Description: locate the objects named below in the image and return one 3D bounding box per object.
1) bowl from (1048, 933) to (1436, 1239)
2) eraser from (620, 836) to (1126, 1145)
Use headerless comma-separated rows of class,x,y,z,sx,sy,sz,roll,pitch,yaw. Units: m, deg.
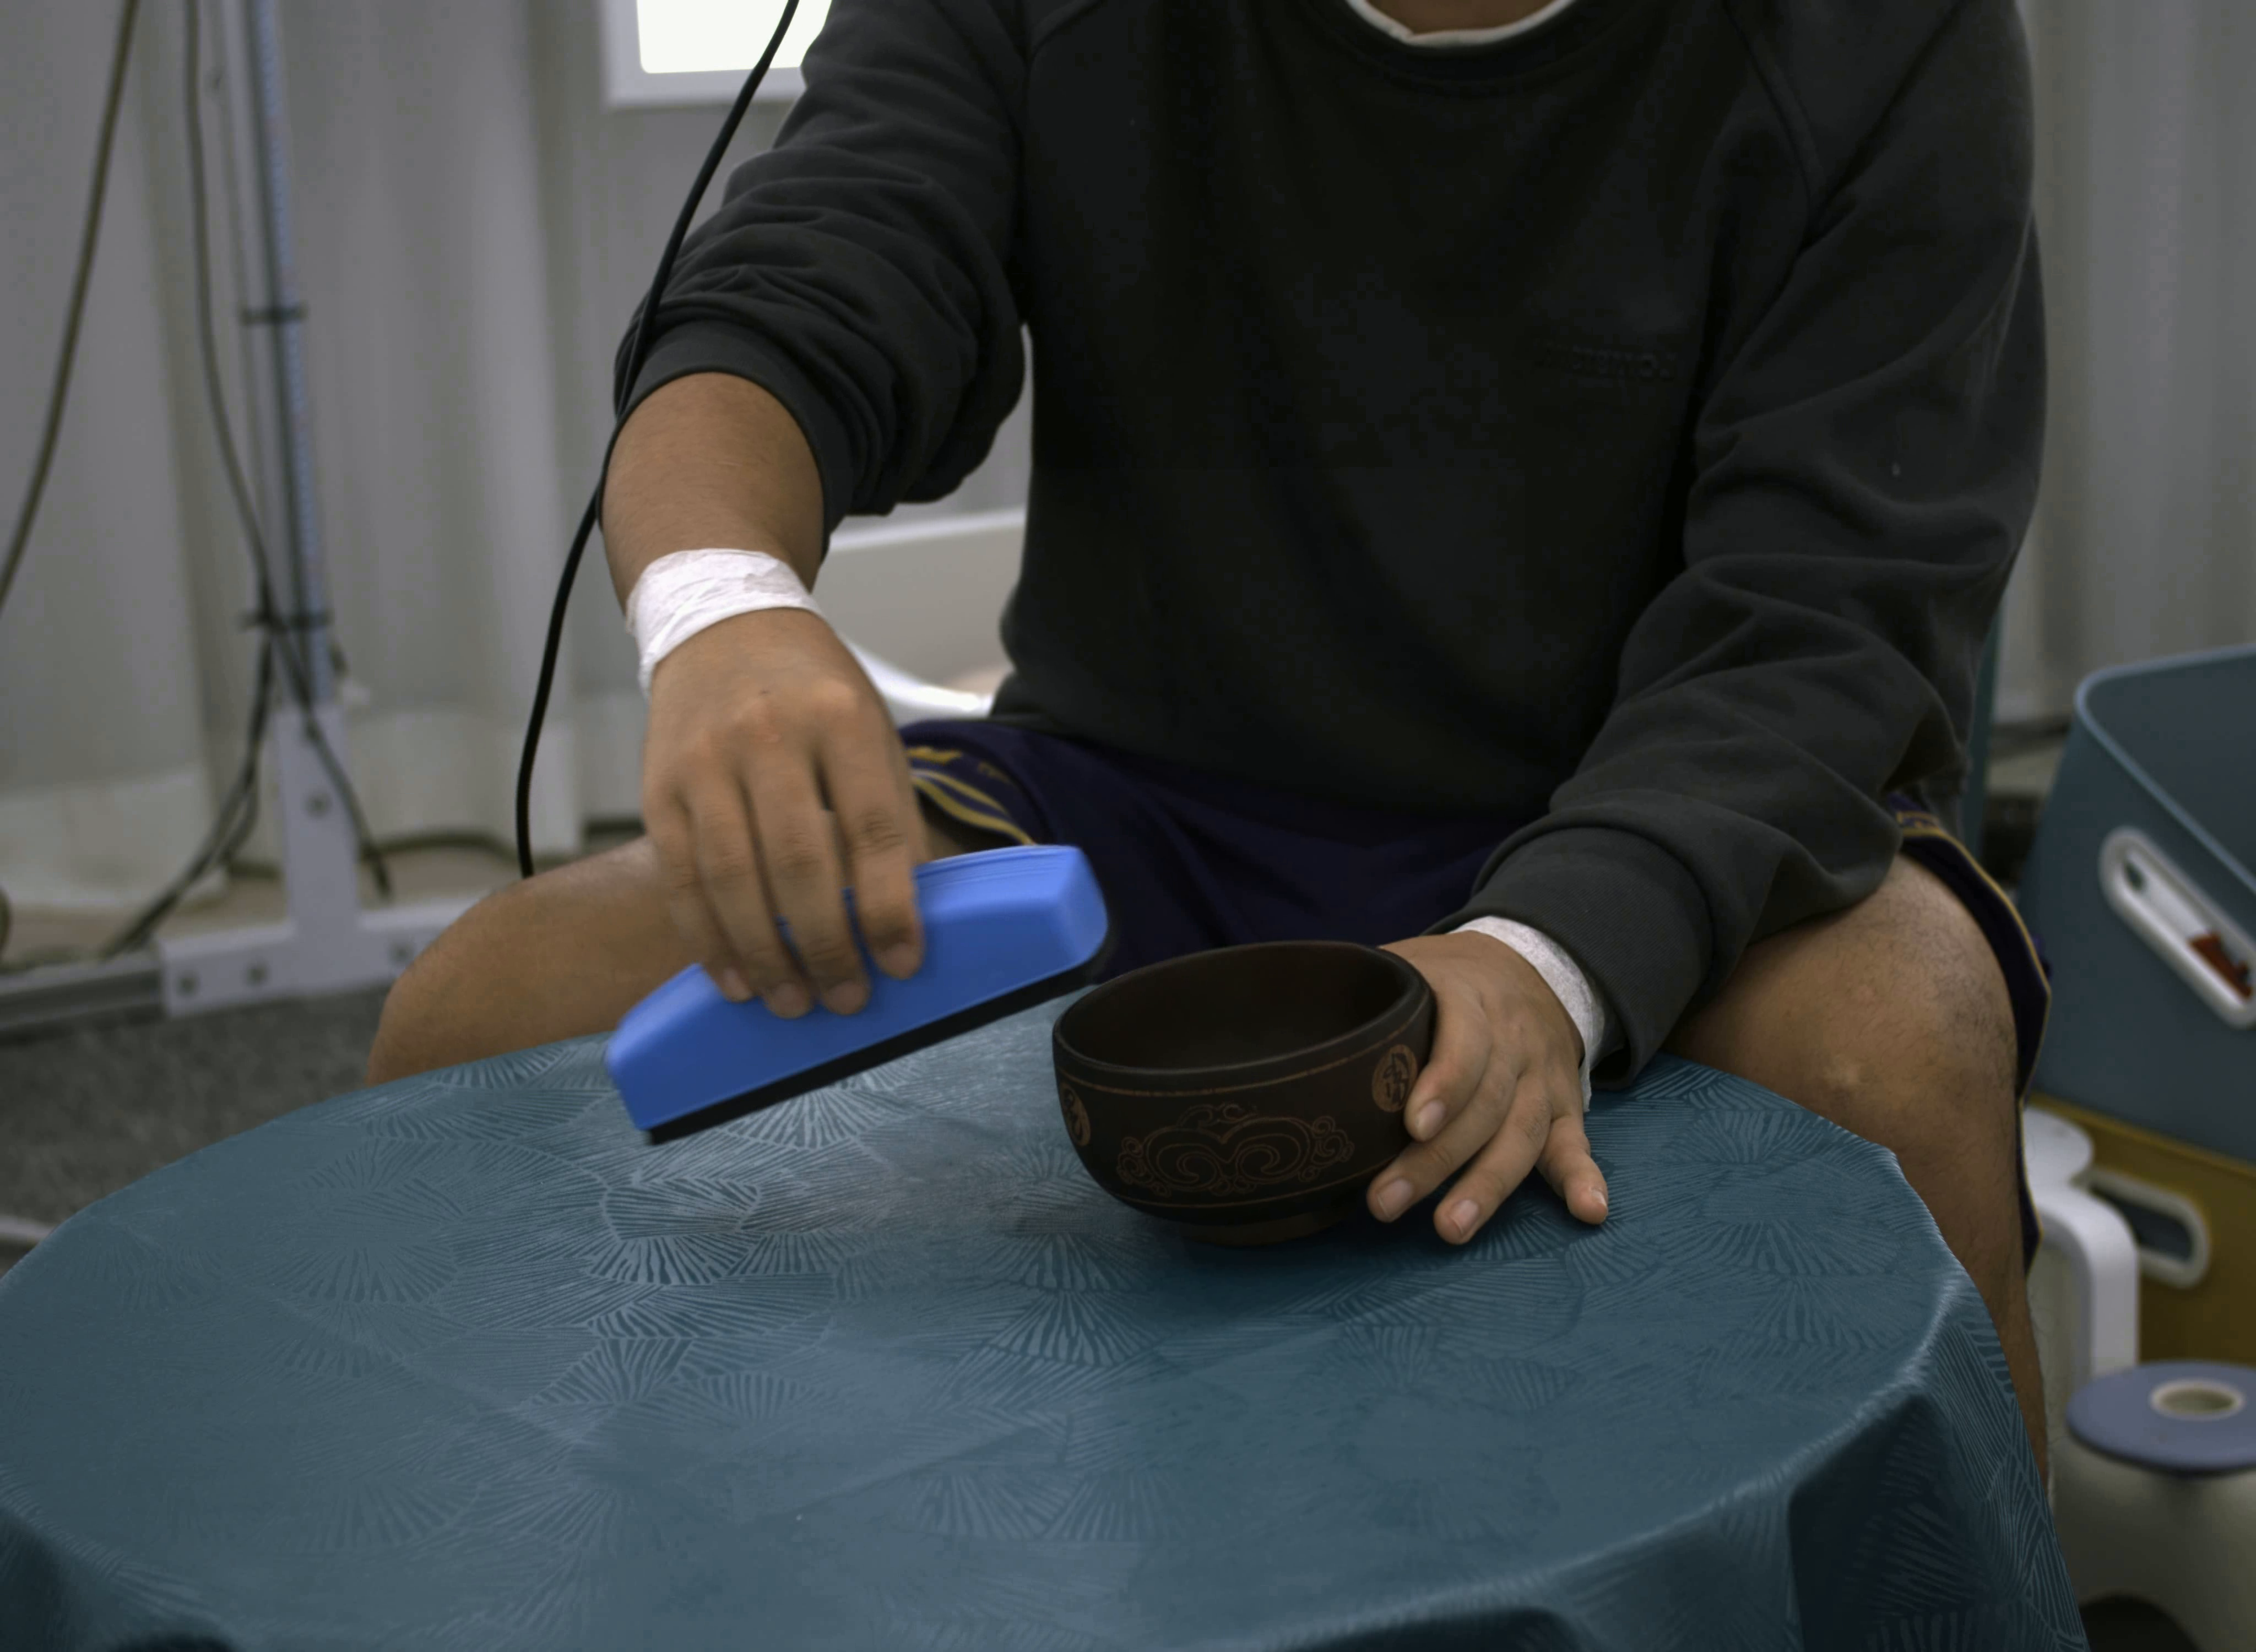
bowl,0.038,0.084,1.670,0.117,0.069,0.119,-10,15,2
eraser,-0.081,0.046,1.682,0.162,0.047,0.054,-22,19,12
